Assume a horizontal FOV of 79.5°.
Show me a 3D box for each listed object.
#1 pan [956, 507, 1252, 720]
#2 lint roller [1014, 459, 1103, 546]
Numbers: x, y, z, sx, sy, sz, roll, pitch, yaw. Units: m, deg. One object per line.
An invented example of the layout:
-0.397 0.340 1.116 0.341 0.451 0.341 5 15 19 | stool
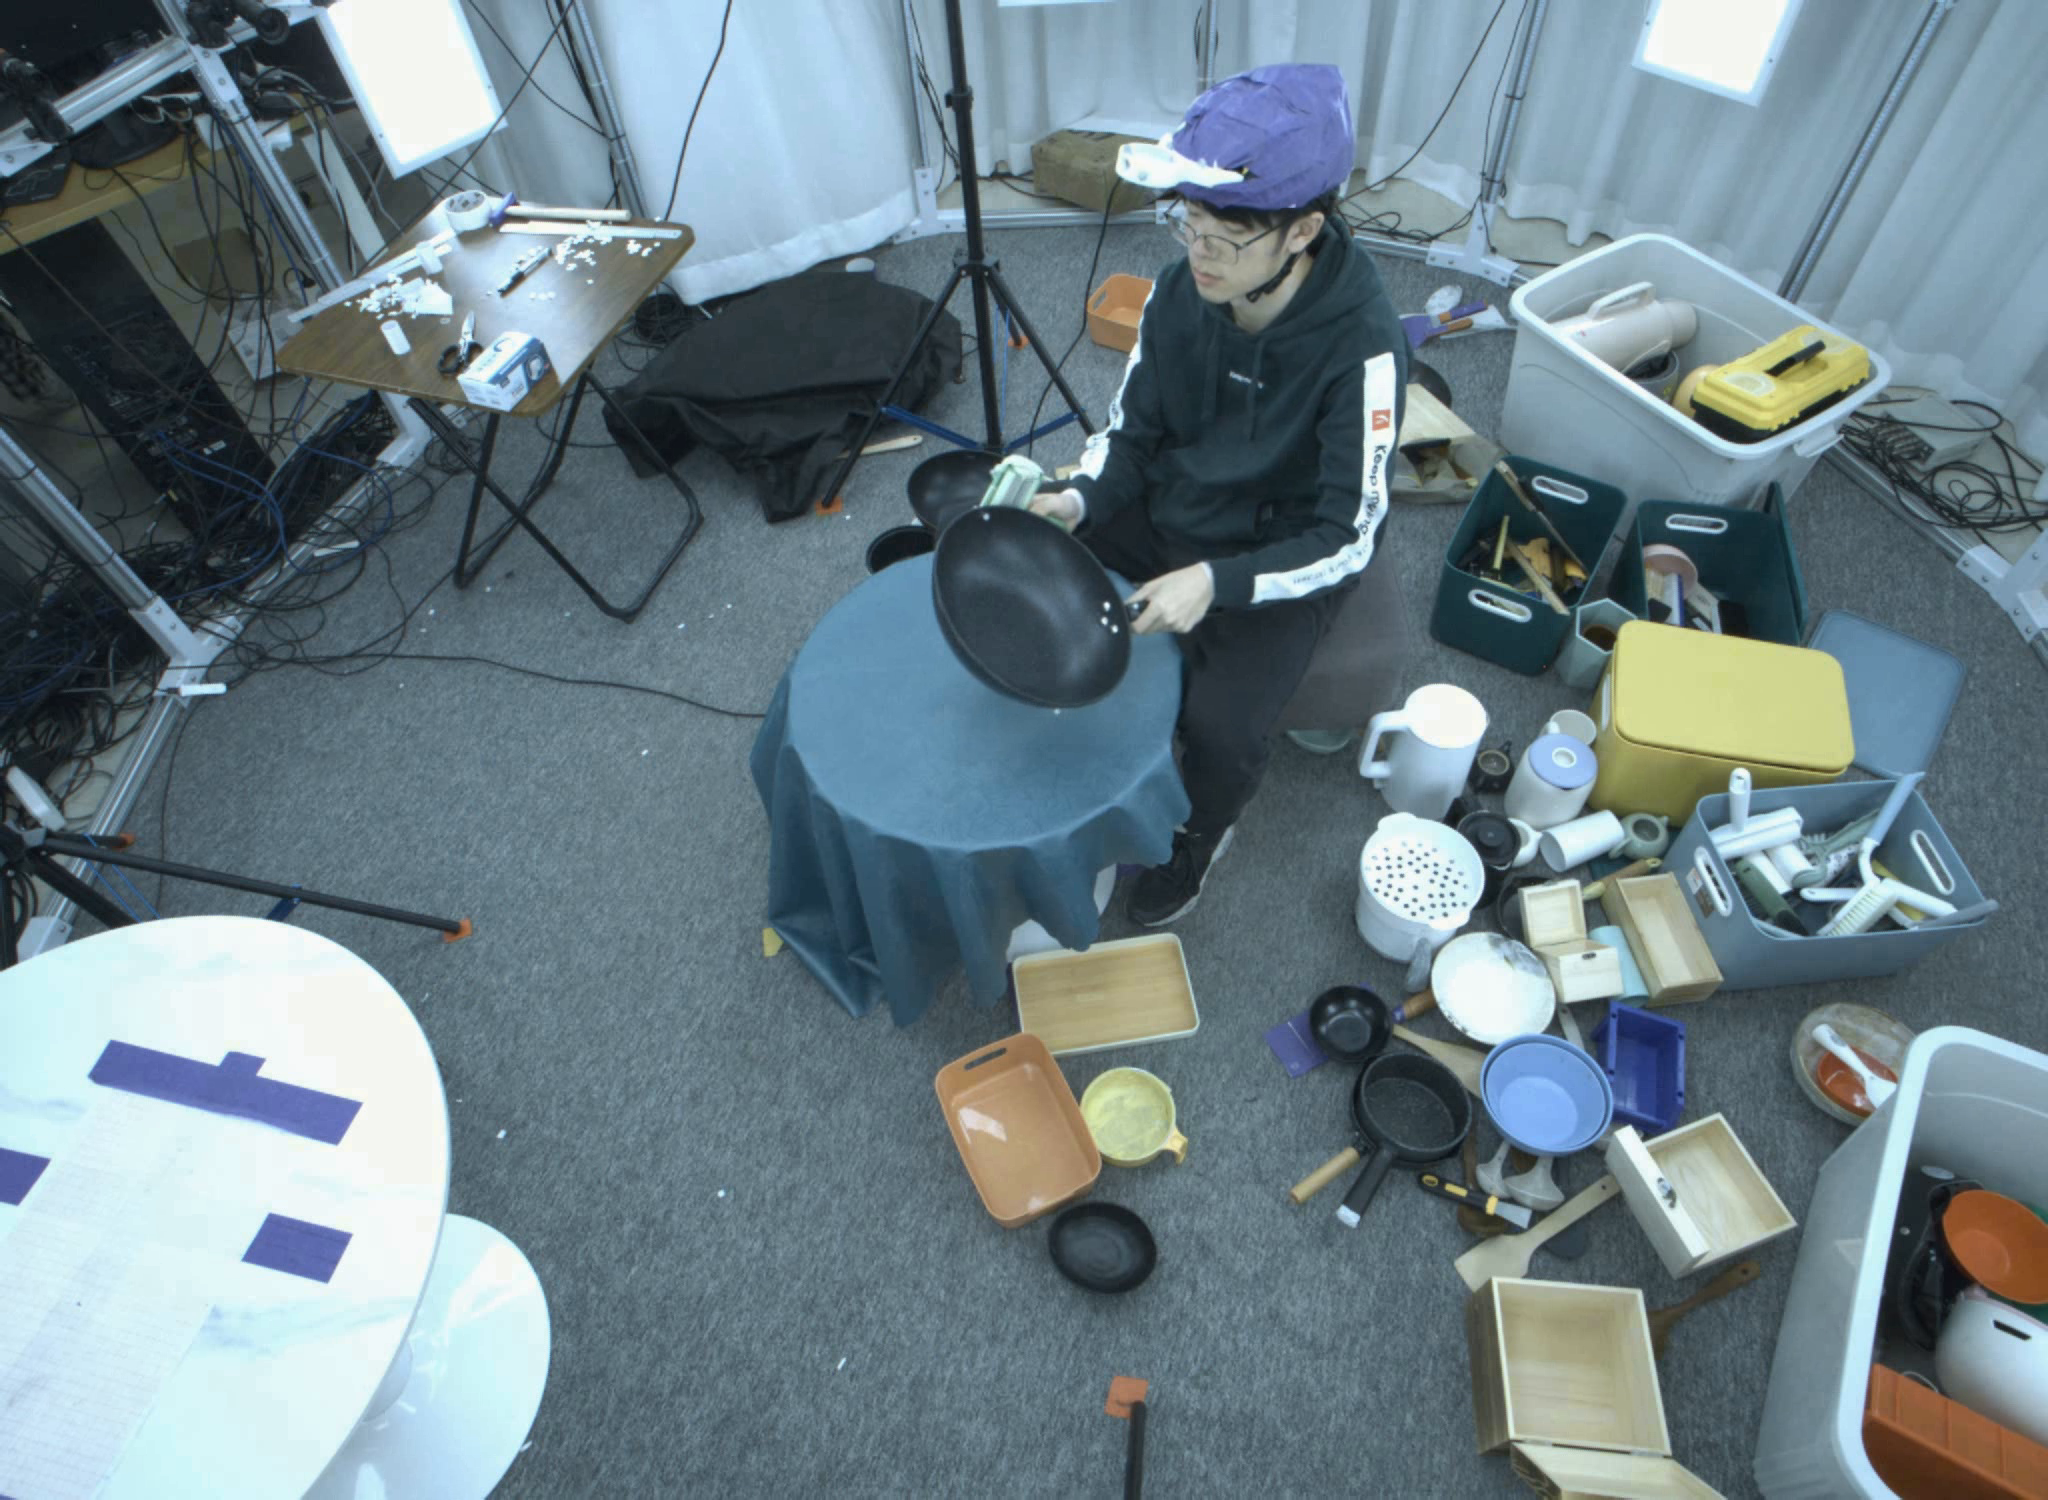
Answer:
0.105 -0.172 1.674 0.487 0.110 0.307 -1 69 -36 | pan
0.037 -0.329 1.753 0.081 0.198 0.186 43 33 19 | lint roller
